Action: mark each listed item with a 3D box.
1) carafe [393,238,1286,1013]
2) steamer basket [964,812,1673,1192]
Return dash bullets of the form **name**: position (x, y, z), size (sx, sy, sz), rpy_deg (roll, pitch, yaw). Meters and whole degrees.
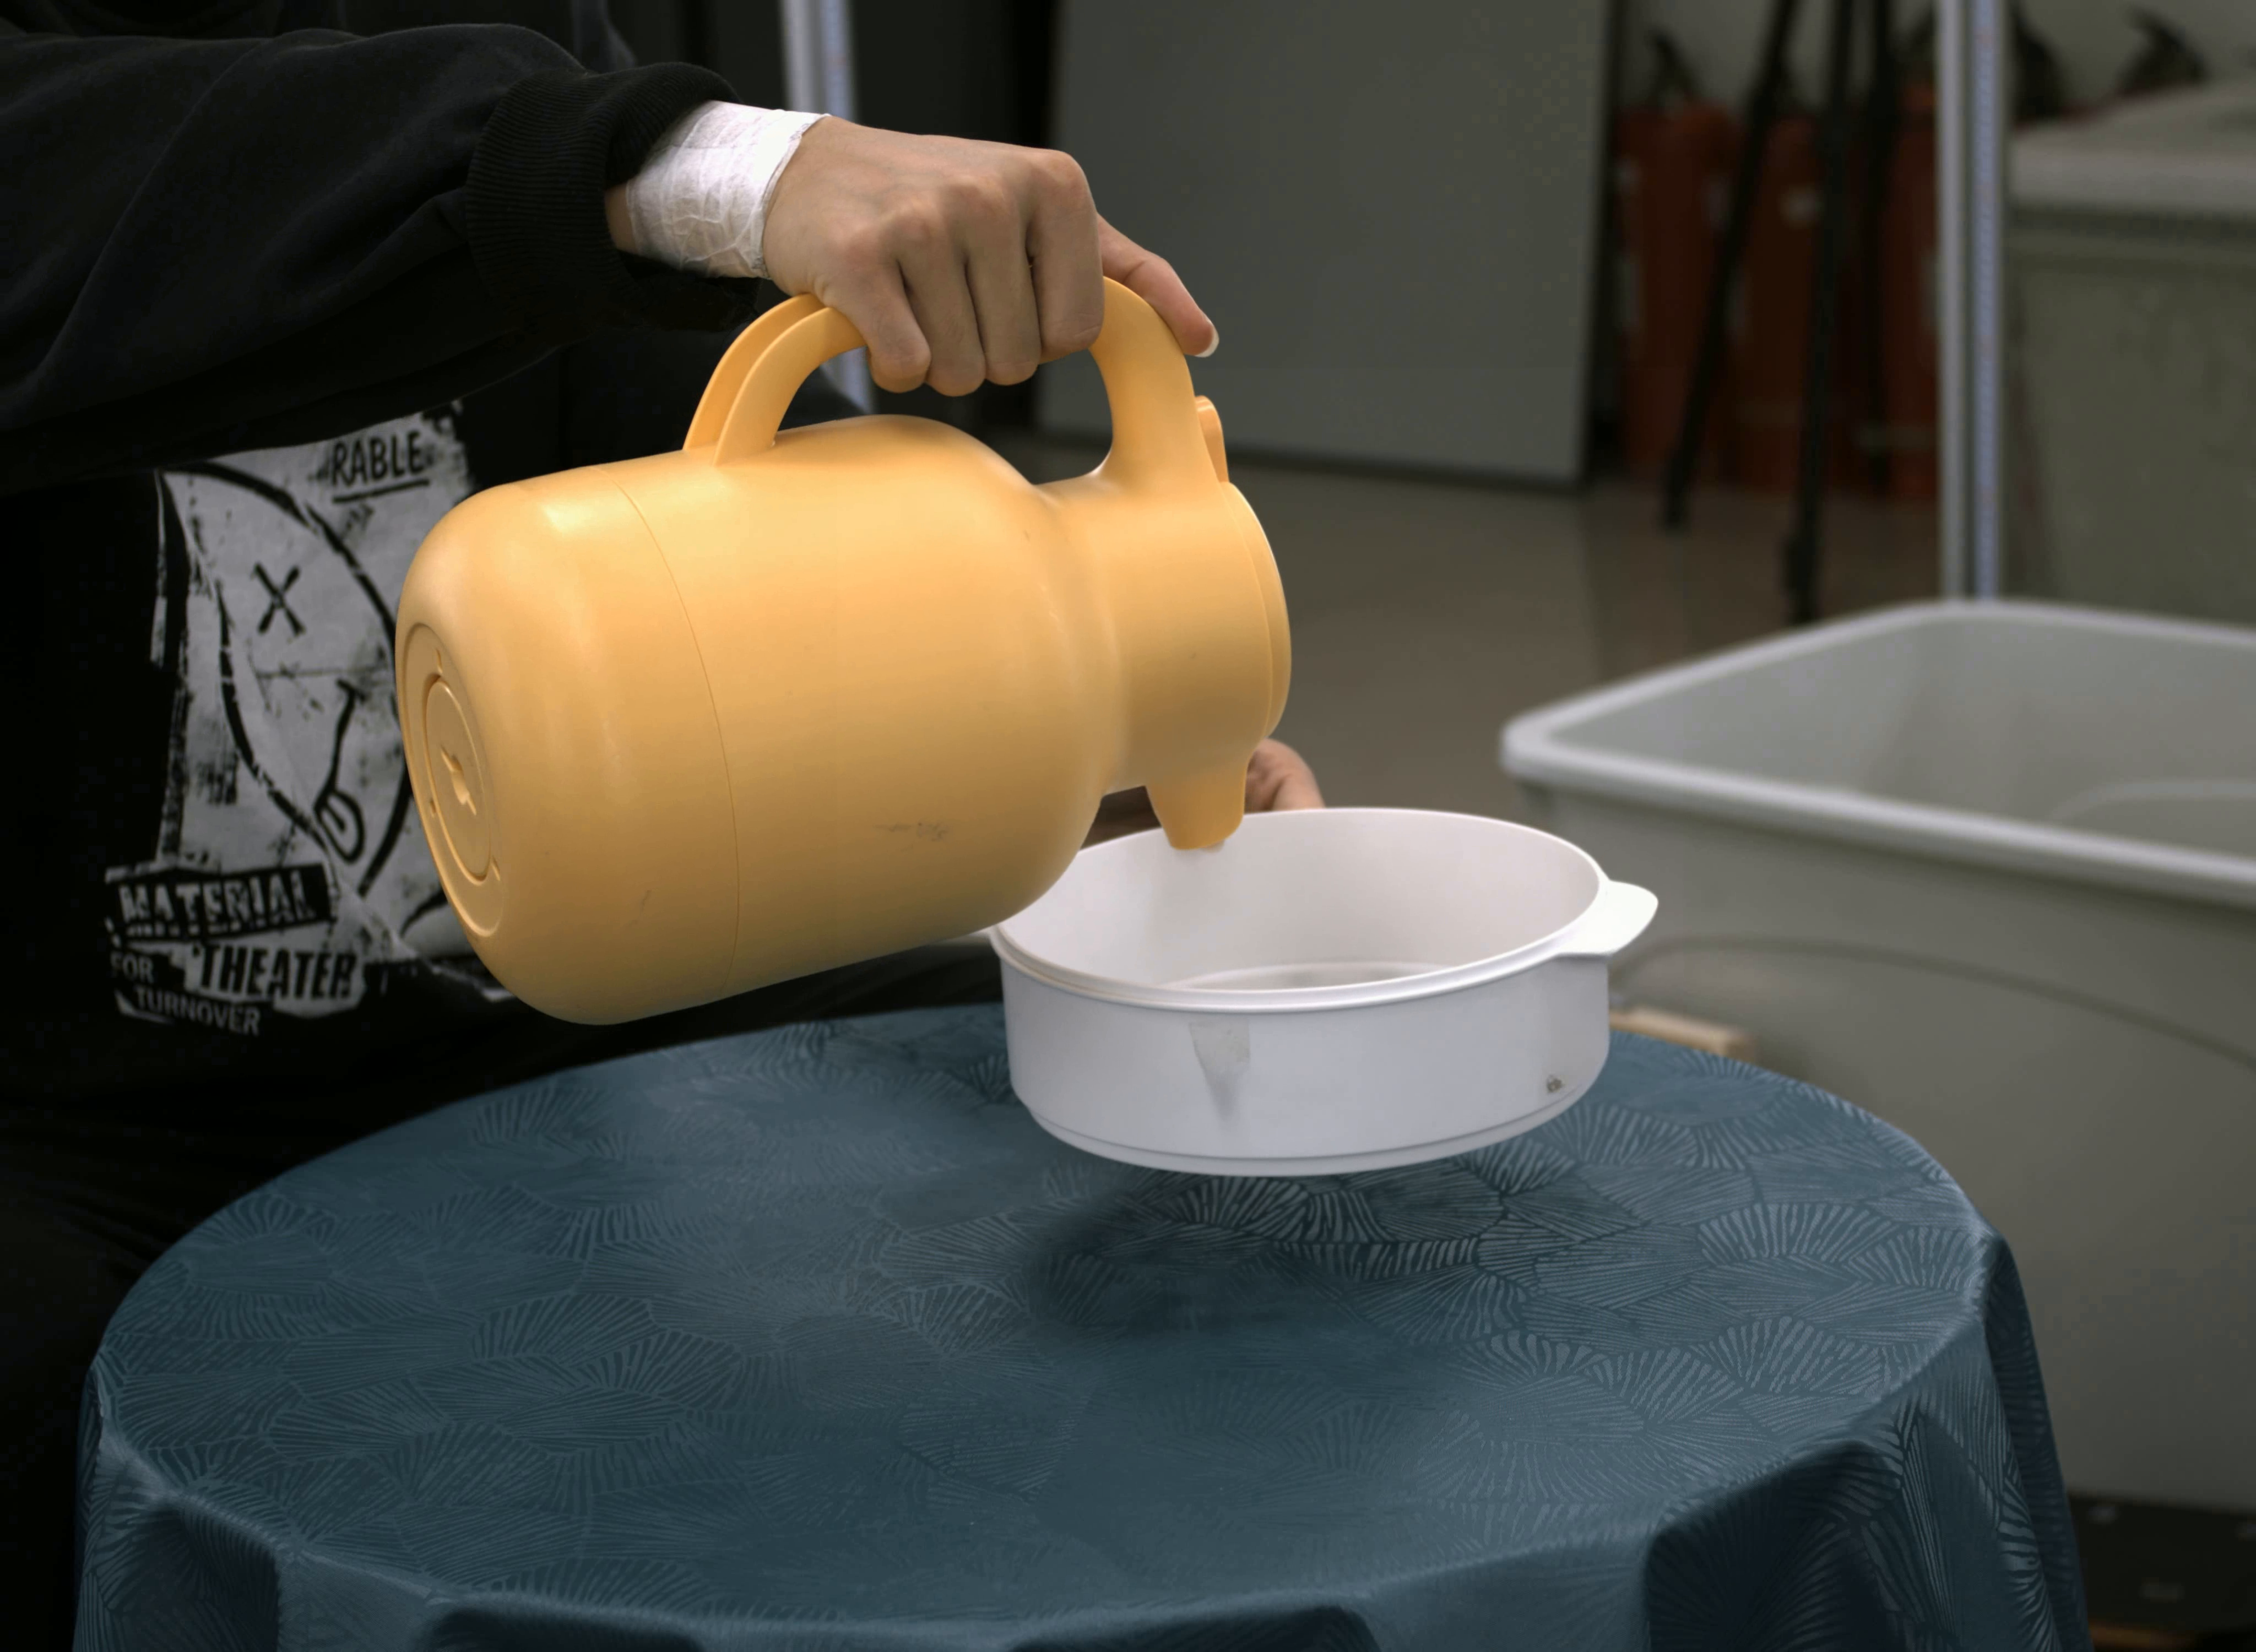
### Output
- **carafe**: position (-0.084, -0.064, 1.610), size (0.255, 0.204, 0.165), rpy_deg (-12, 14, -22)
- **steamer basket**: position (0.062, 0.055, 1.718), size (0.230, 0.070, 0.200), rpy_deg (0, 17, 20)
